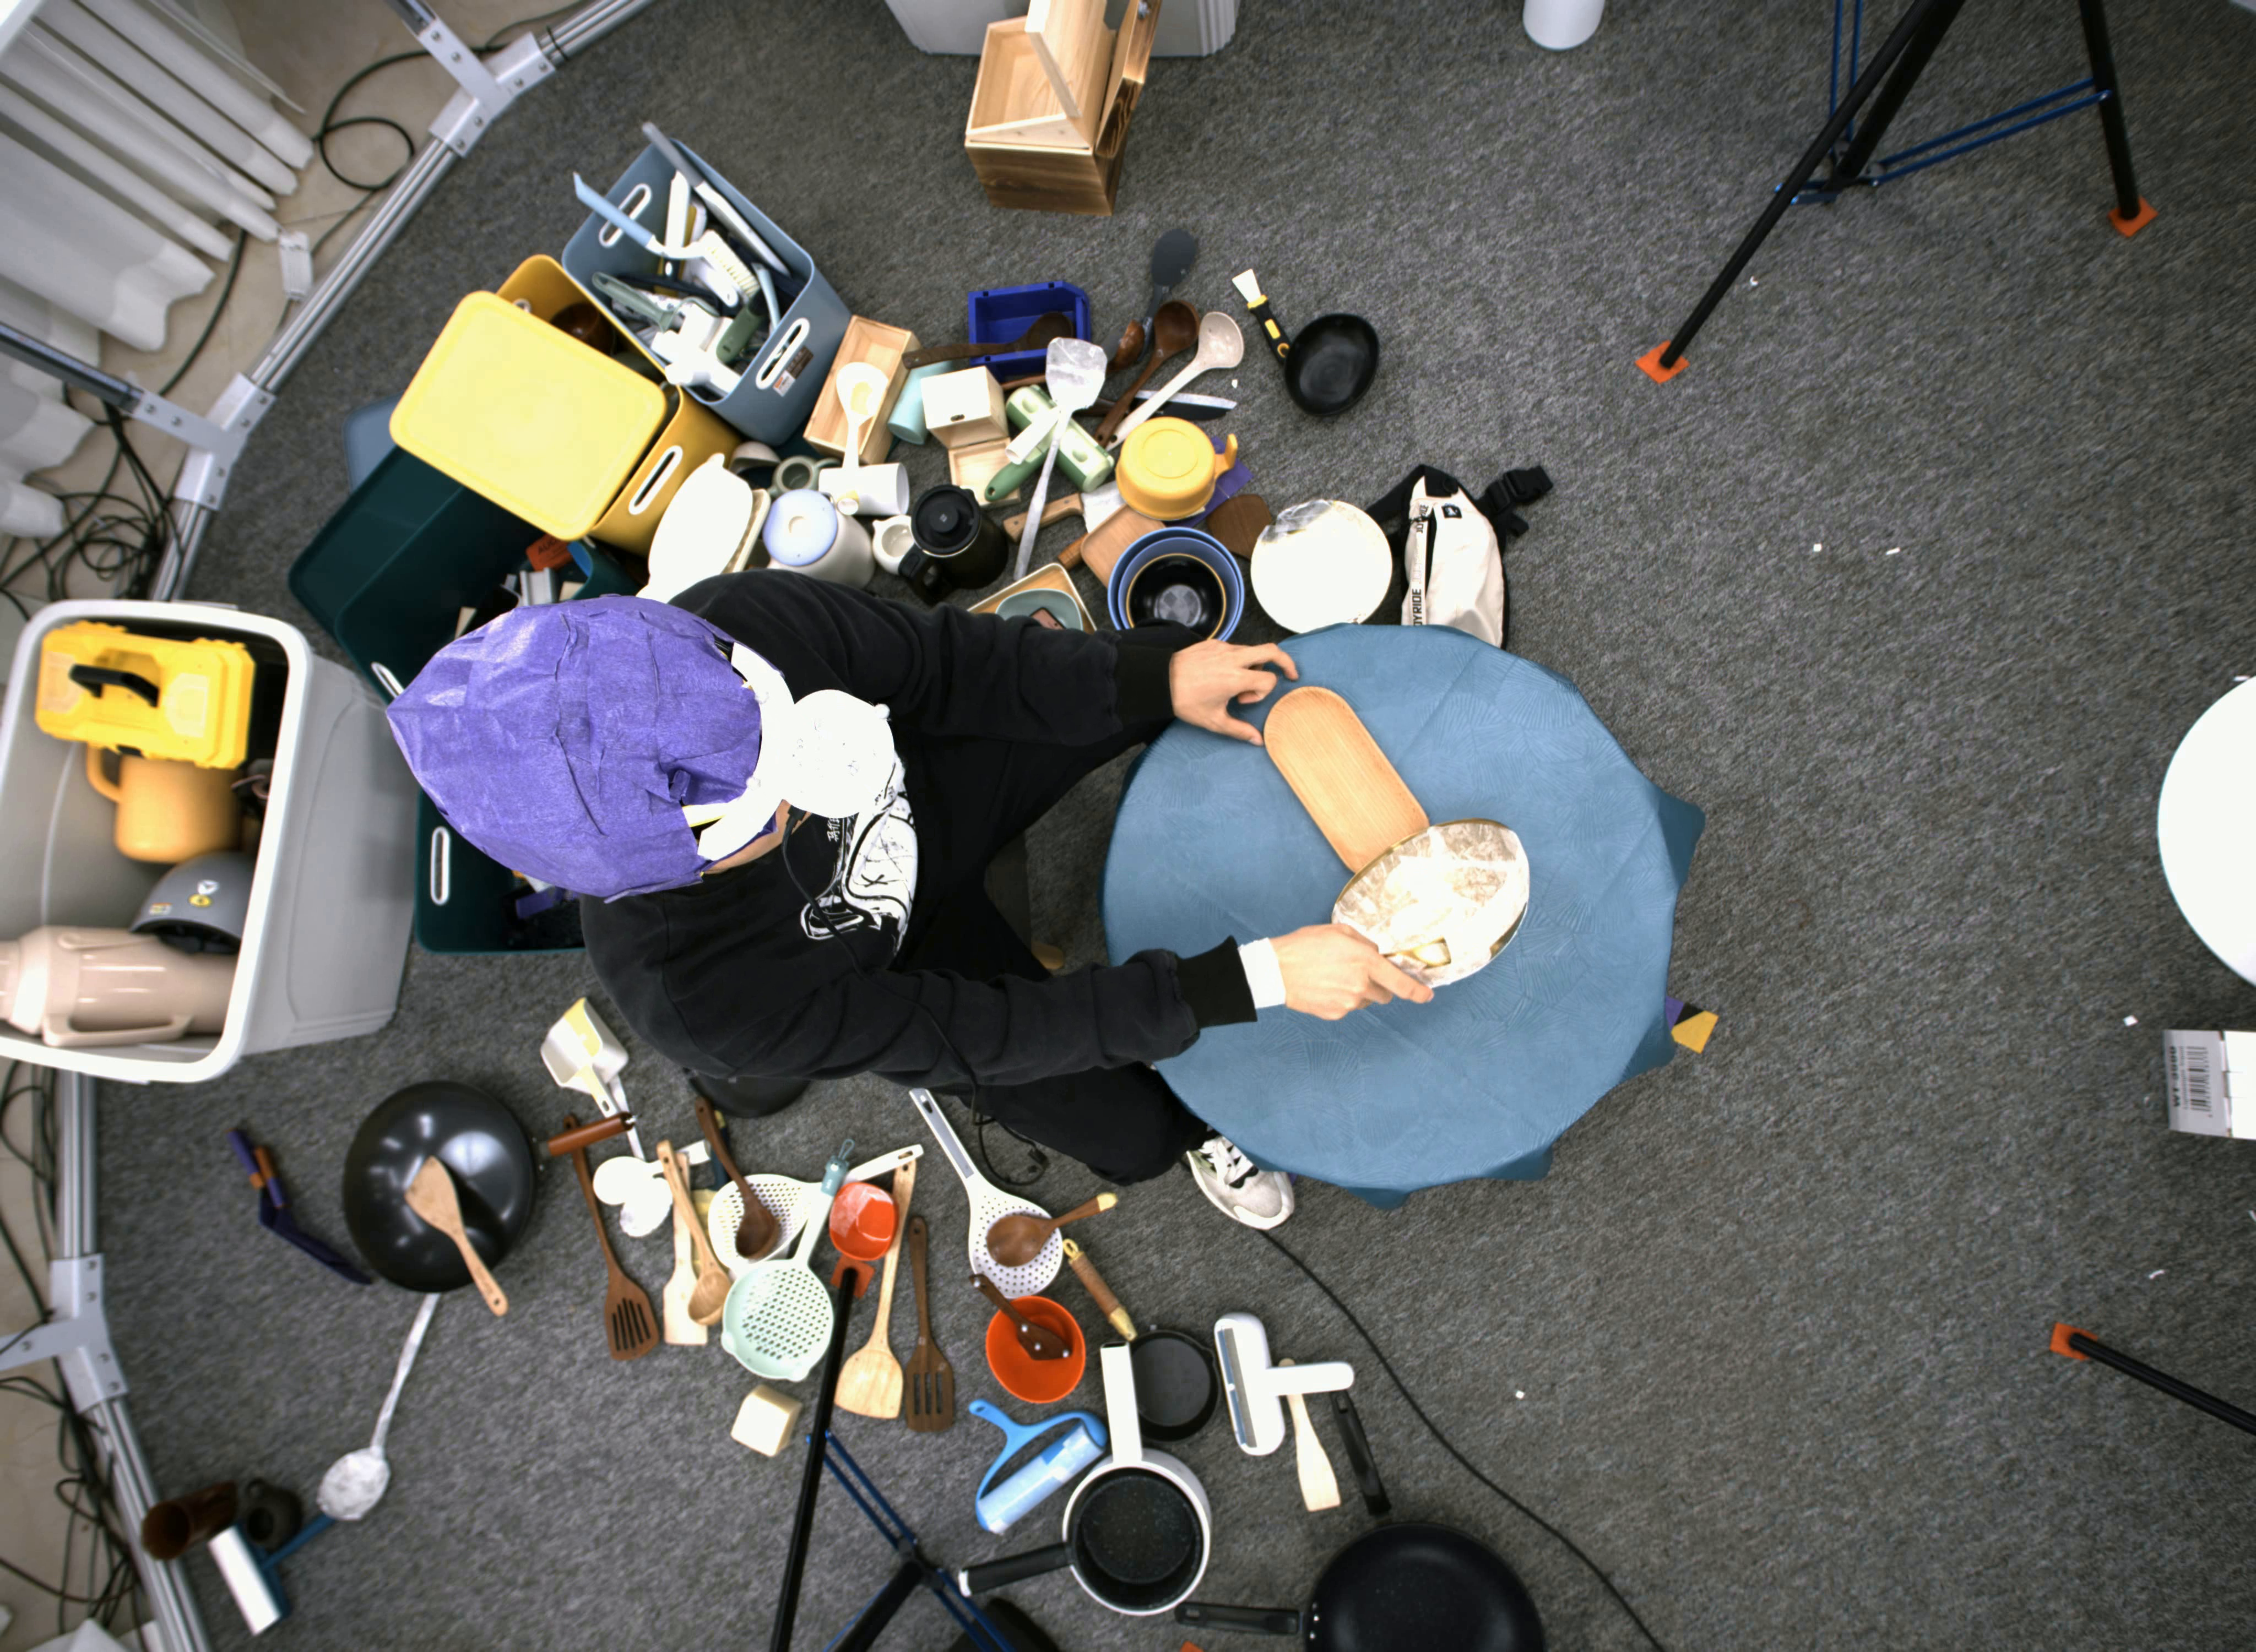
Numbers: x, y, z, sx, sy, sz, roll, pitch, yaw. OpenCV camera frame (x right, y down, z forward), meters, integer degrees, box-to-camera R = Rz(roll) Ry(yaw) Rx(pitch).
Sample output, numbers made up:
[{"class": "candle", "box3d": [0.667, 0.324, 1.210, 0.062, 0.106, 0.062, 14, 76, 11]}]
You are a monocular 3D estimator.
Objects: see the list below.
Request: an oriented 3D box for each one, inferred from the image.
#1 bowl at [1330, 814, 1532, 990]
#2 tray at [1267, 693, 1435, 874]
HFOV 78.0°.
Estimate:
[{"class": "bowl", "box3d": [0.307, 0.089, 1.351, 0.215, 0.211, 0.096, -34, 113, 5]}, {"class": "tray", "box3d": [0.237, -0.041, 1.470, 0.102, 0.020, 0.230, -36, 82, 8]}]
